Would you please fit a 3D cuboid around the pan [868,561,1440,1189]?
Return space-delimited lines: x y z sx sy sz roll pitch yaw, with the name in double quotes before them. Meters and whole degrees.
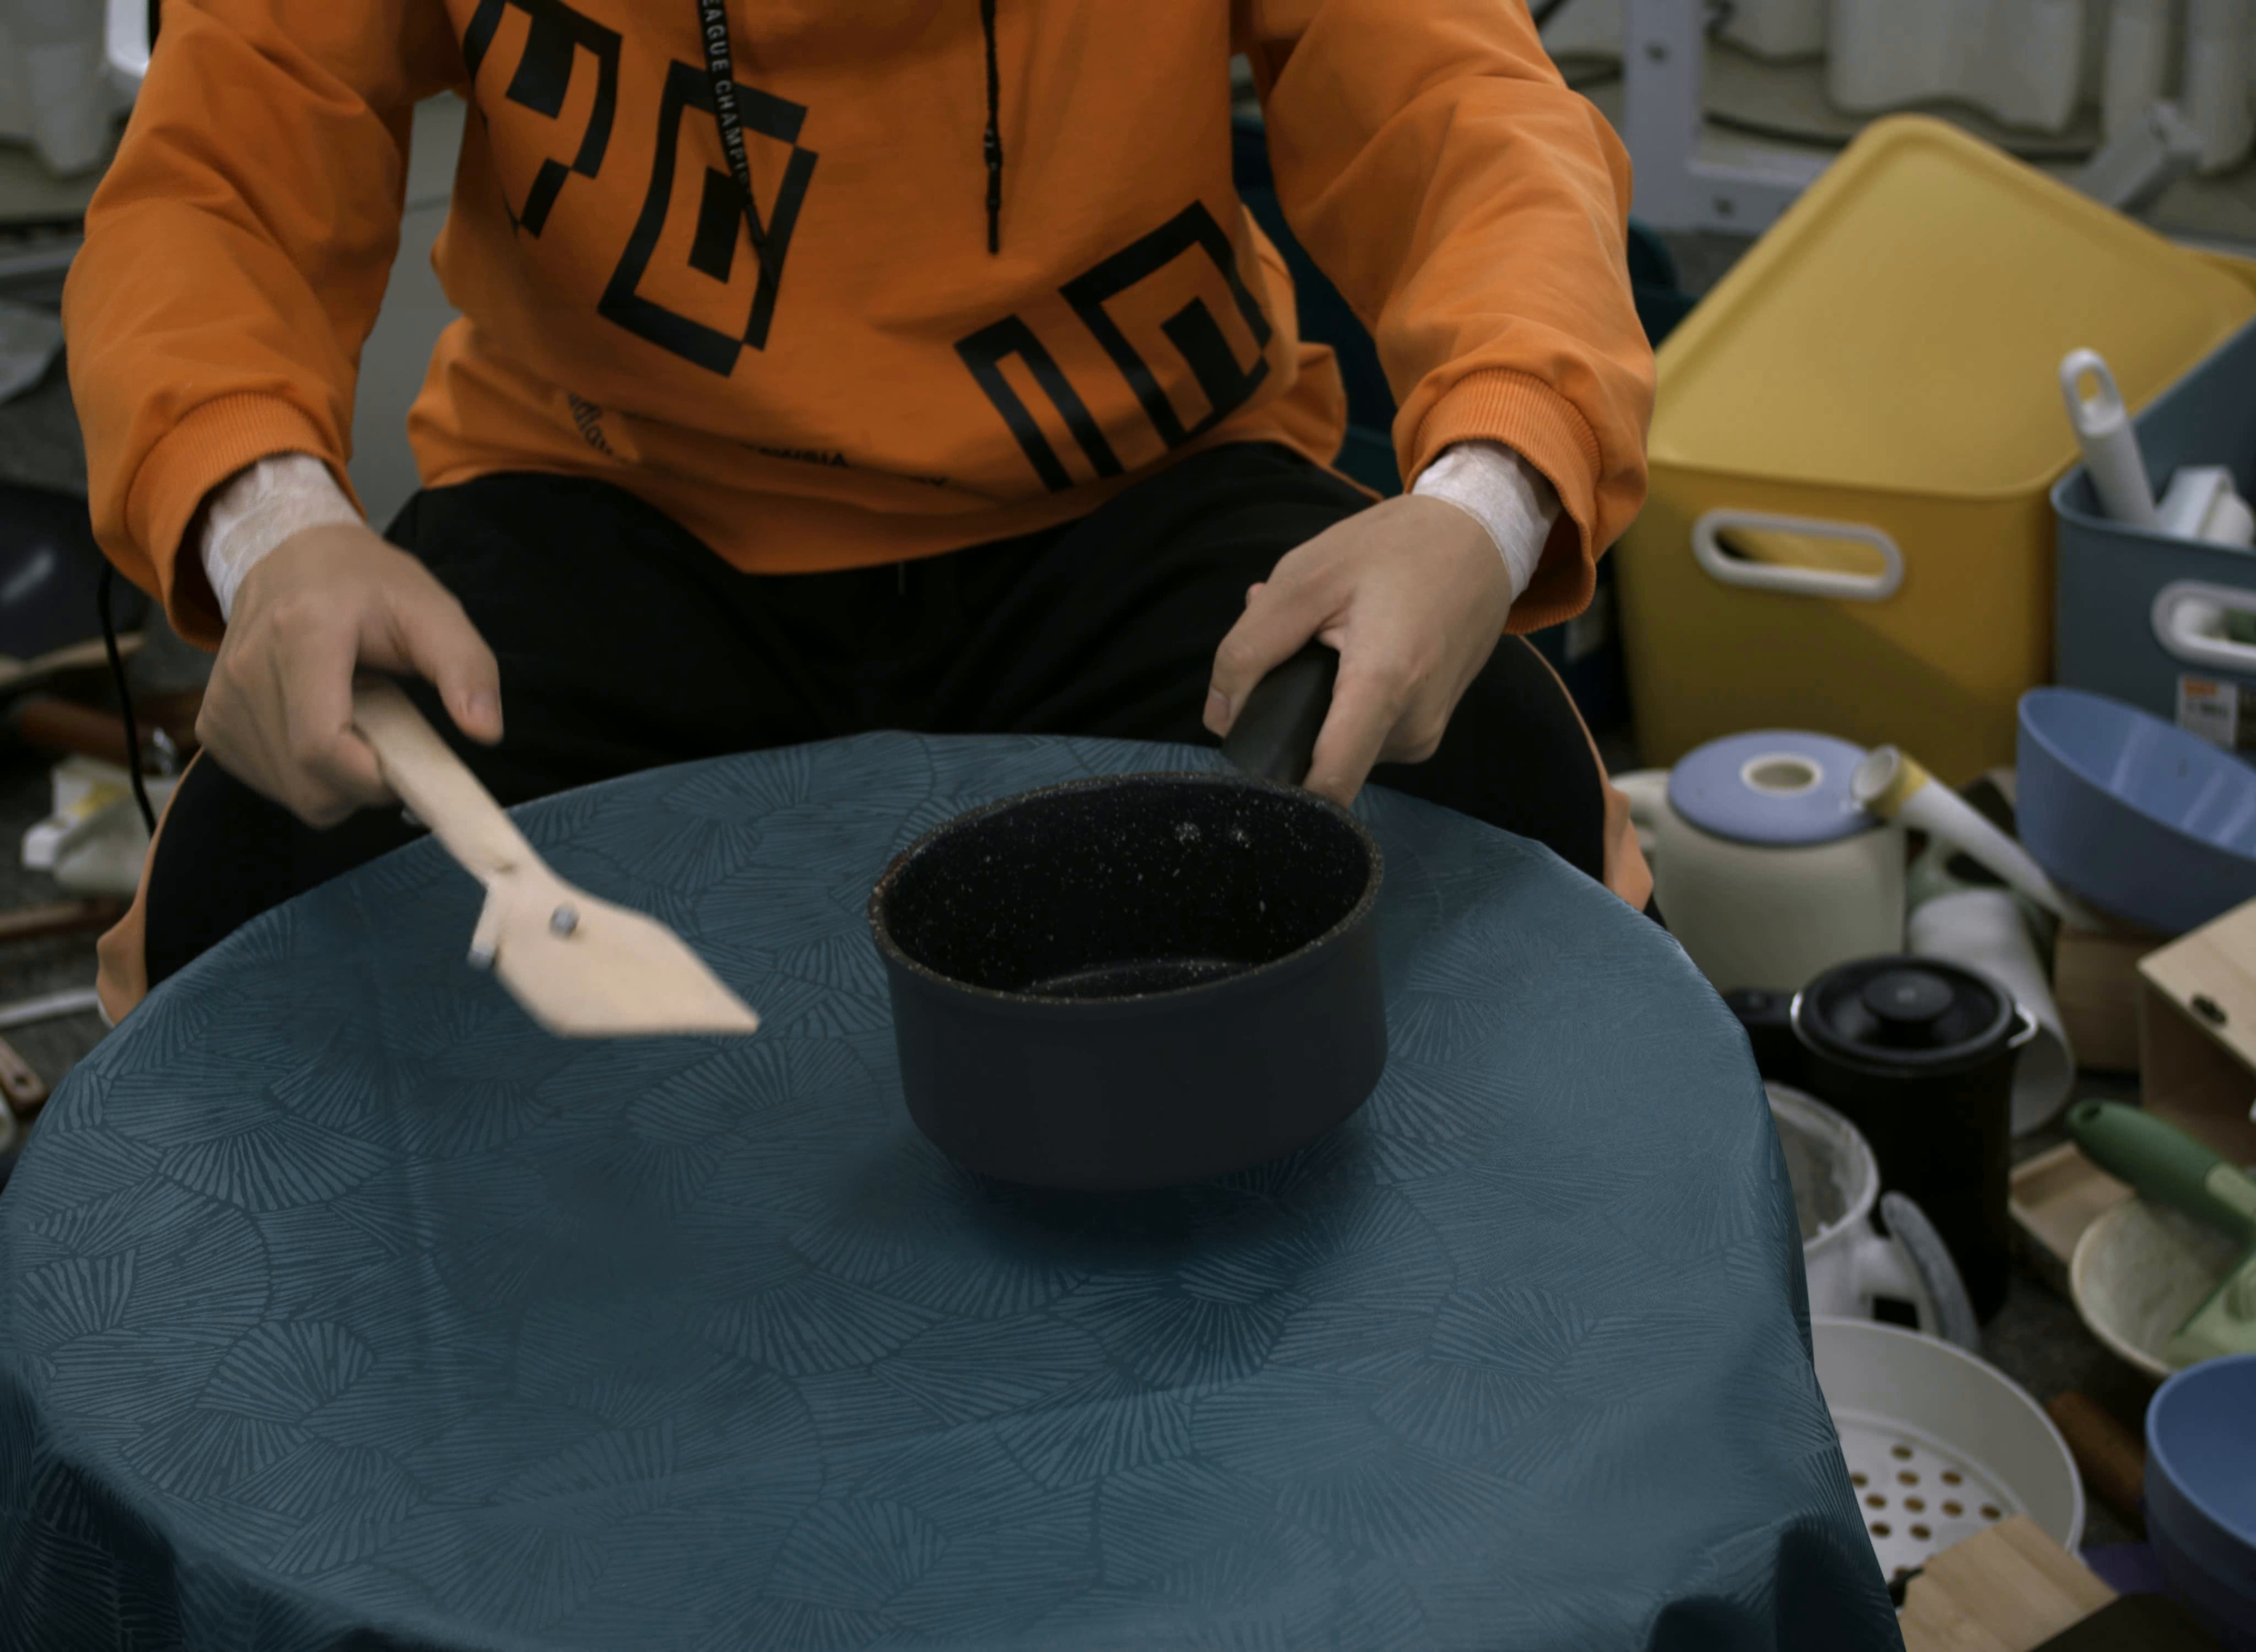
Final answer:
"pan" 0.034 0.013 1.925 0.171 0.085 0.334 6 29 23

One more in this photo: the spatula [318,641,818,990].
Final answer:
"spatula" -0.201 -0.007 1.877 0.072 0.010 0.294 12 15 -38
